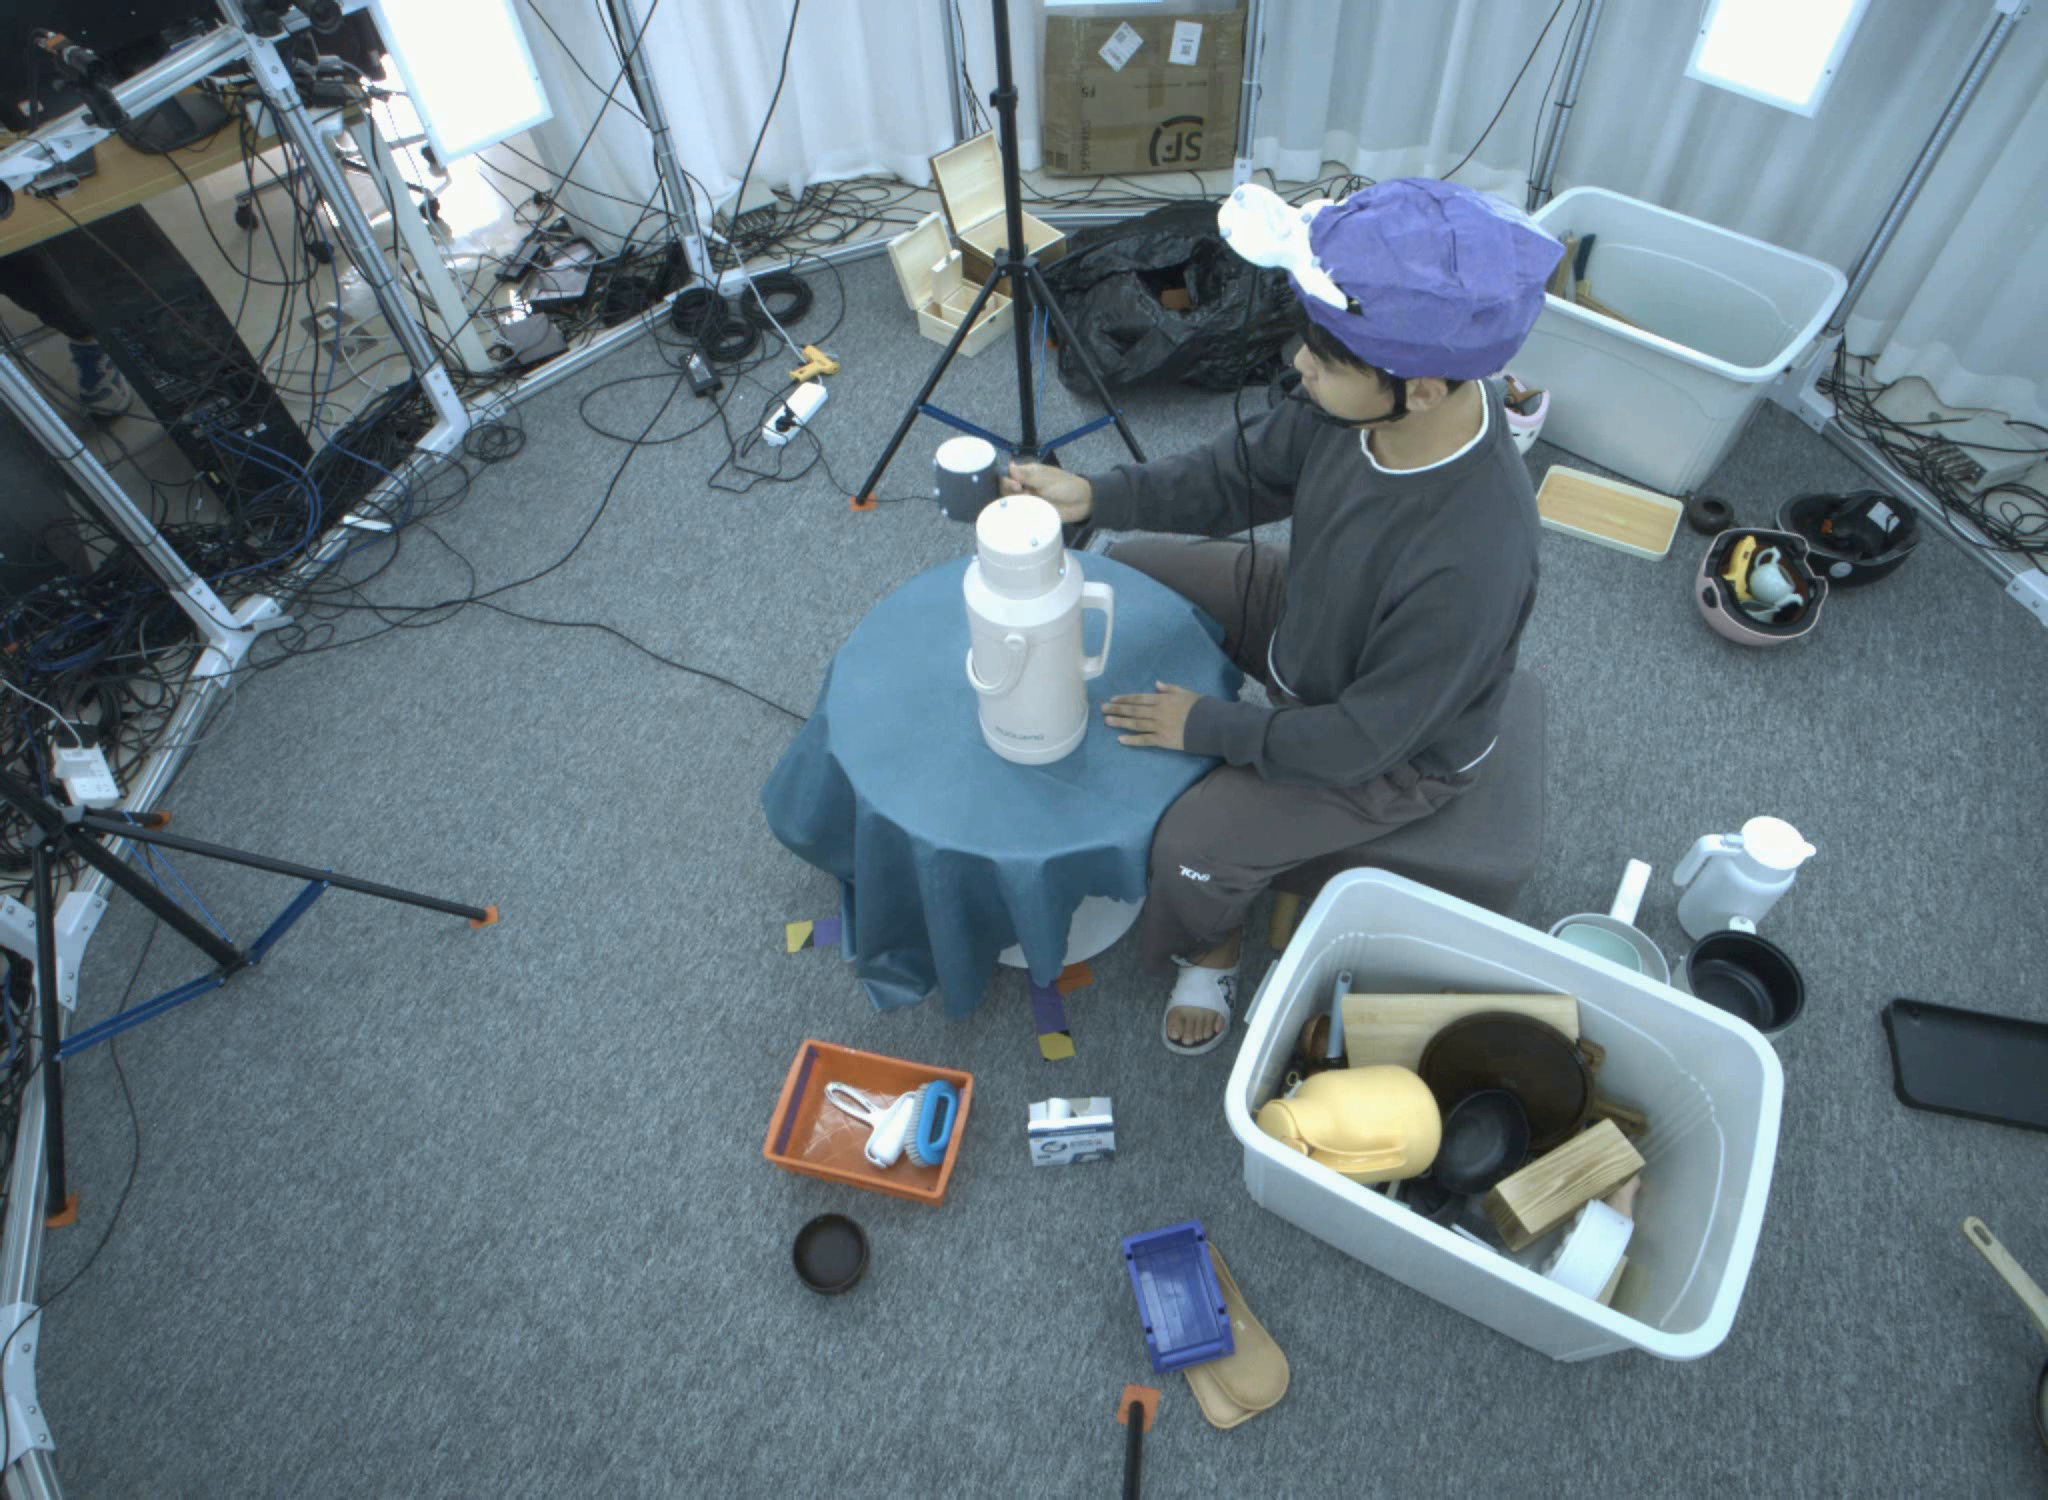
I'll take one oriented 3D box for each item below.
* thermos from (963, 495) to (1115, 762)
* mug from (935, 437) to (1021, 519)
[{"bbox_3d":[0.018,-0.158,1.655,0.206,0.411,0.174,3,55,6],"label":"thermos"},{"bbox_3d":[-0.065,-0.375,1.687,0.122,0.091,0.093,14,50,11],"label":"mug"}]
